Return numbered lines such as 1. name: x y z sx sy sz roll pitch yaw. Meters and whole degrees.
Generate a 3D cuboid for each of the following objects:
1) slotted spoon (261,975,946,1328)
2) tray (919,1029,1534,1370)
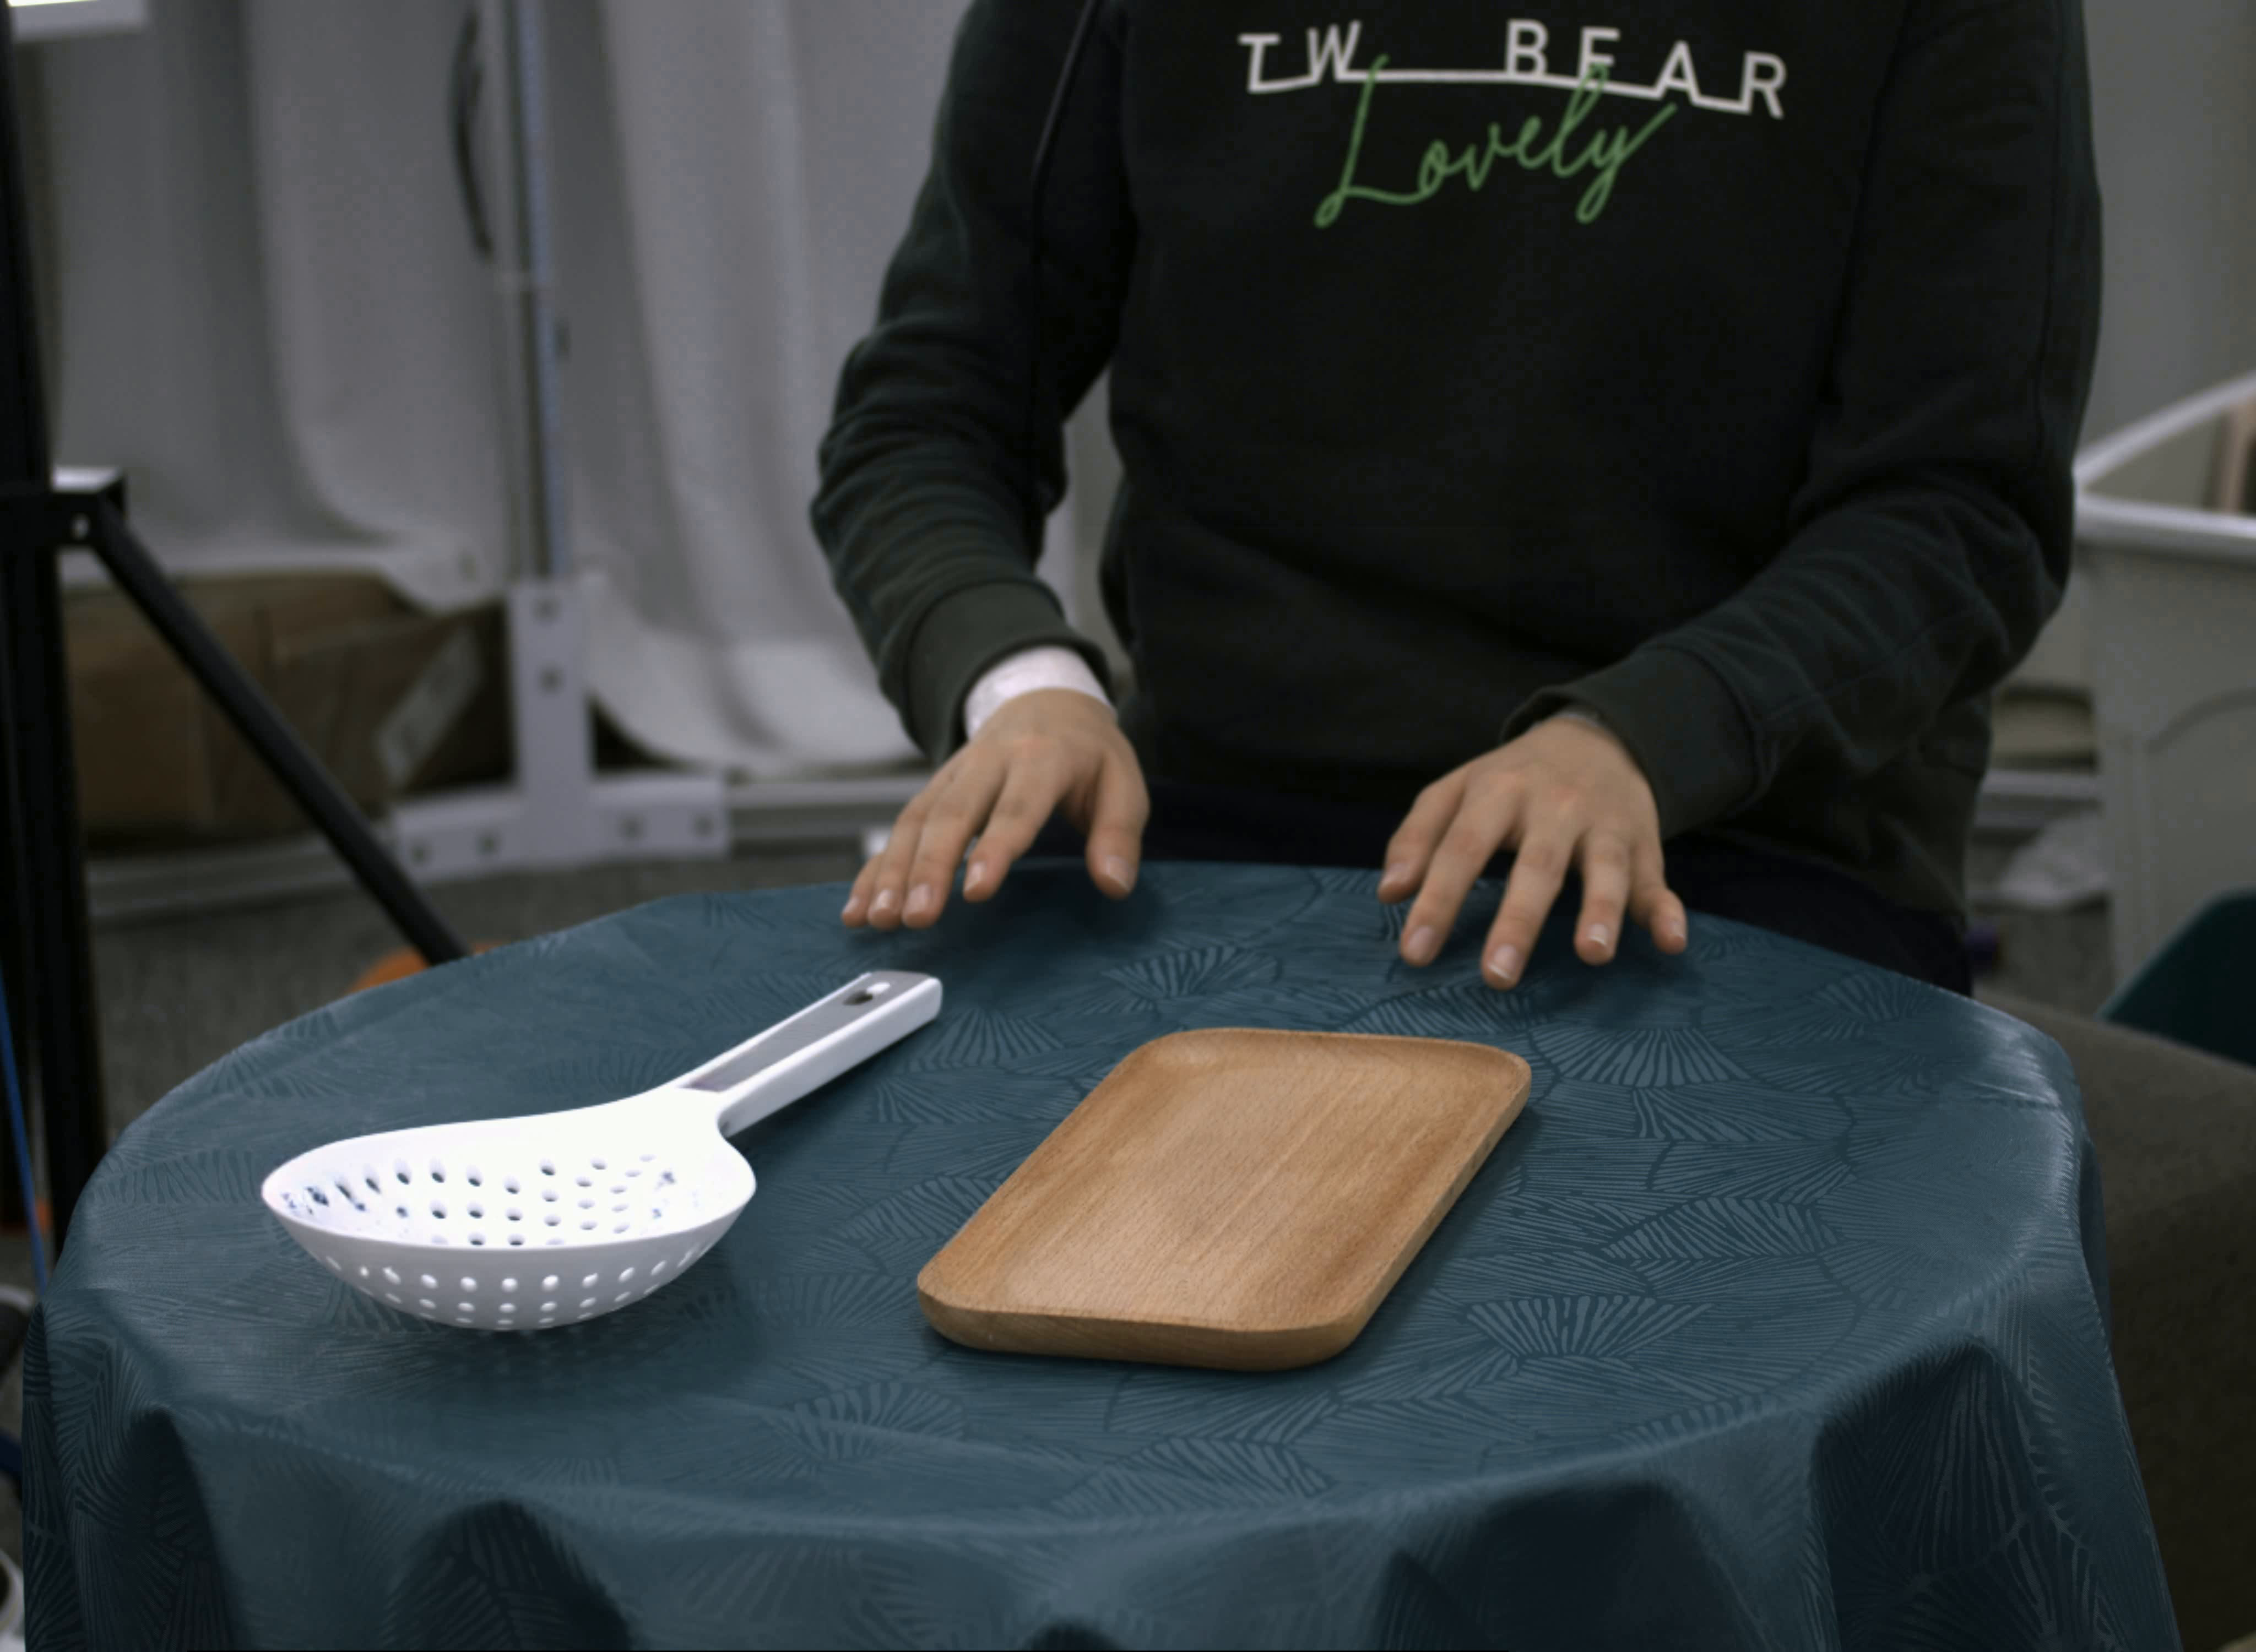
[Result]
1. slotted spoon: -0.133 0.086 1.573 0.138 0.046 0.345 6 17 21
2. tray: 0.033 0.105 1.533 0.132 0.023 0.248 5 16 18
